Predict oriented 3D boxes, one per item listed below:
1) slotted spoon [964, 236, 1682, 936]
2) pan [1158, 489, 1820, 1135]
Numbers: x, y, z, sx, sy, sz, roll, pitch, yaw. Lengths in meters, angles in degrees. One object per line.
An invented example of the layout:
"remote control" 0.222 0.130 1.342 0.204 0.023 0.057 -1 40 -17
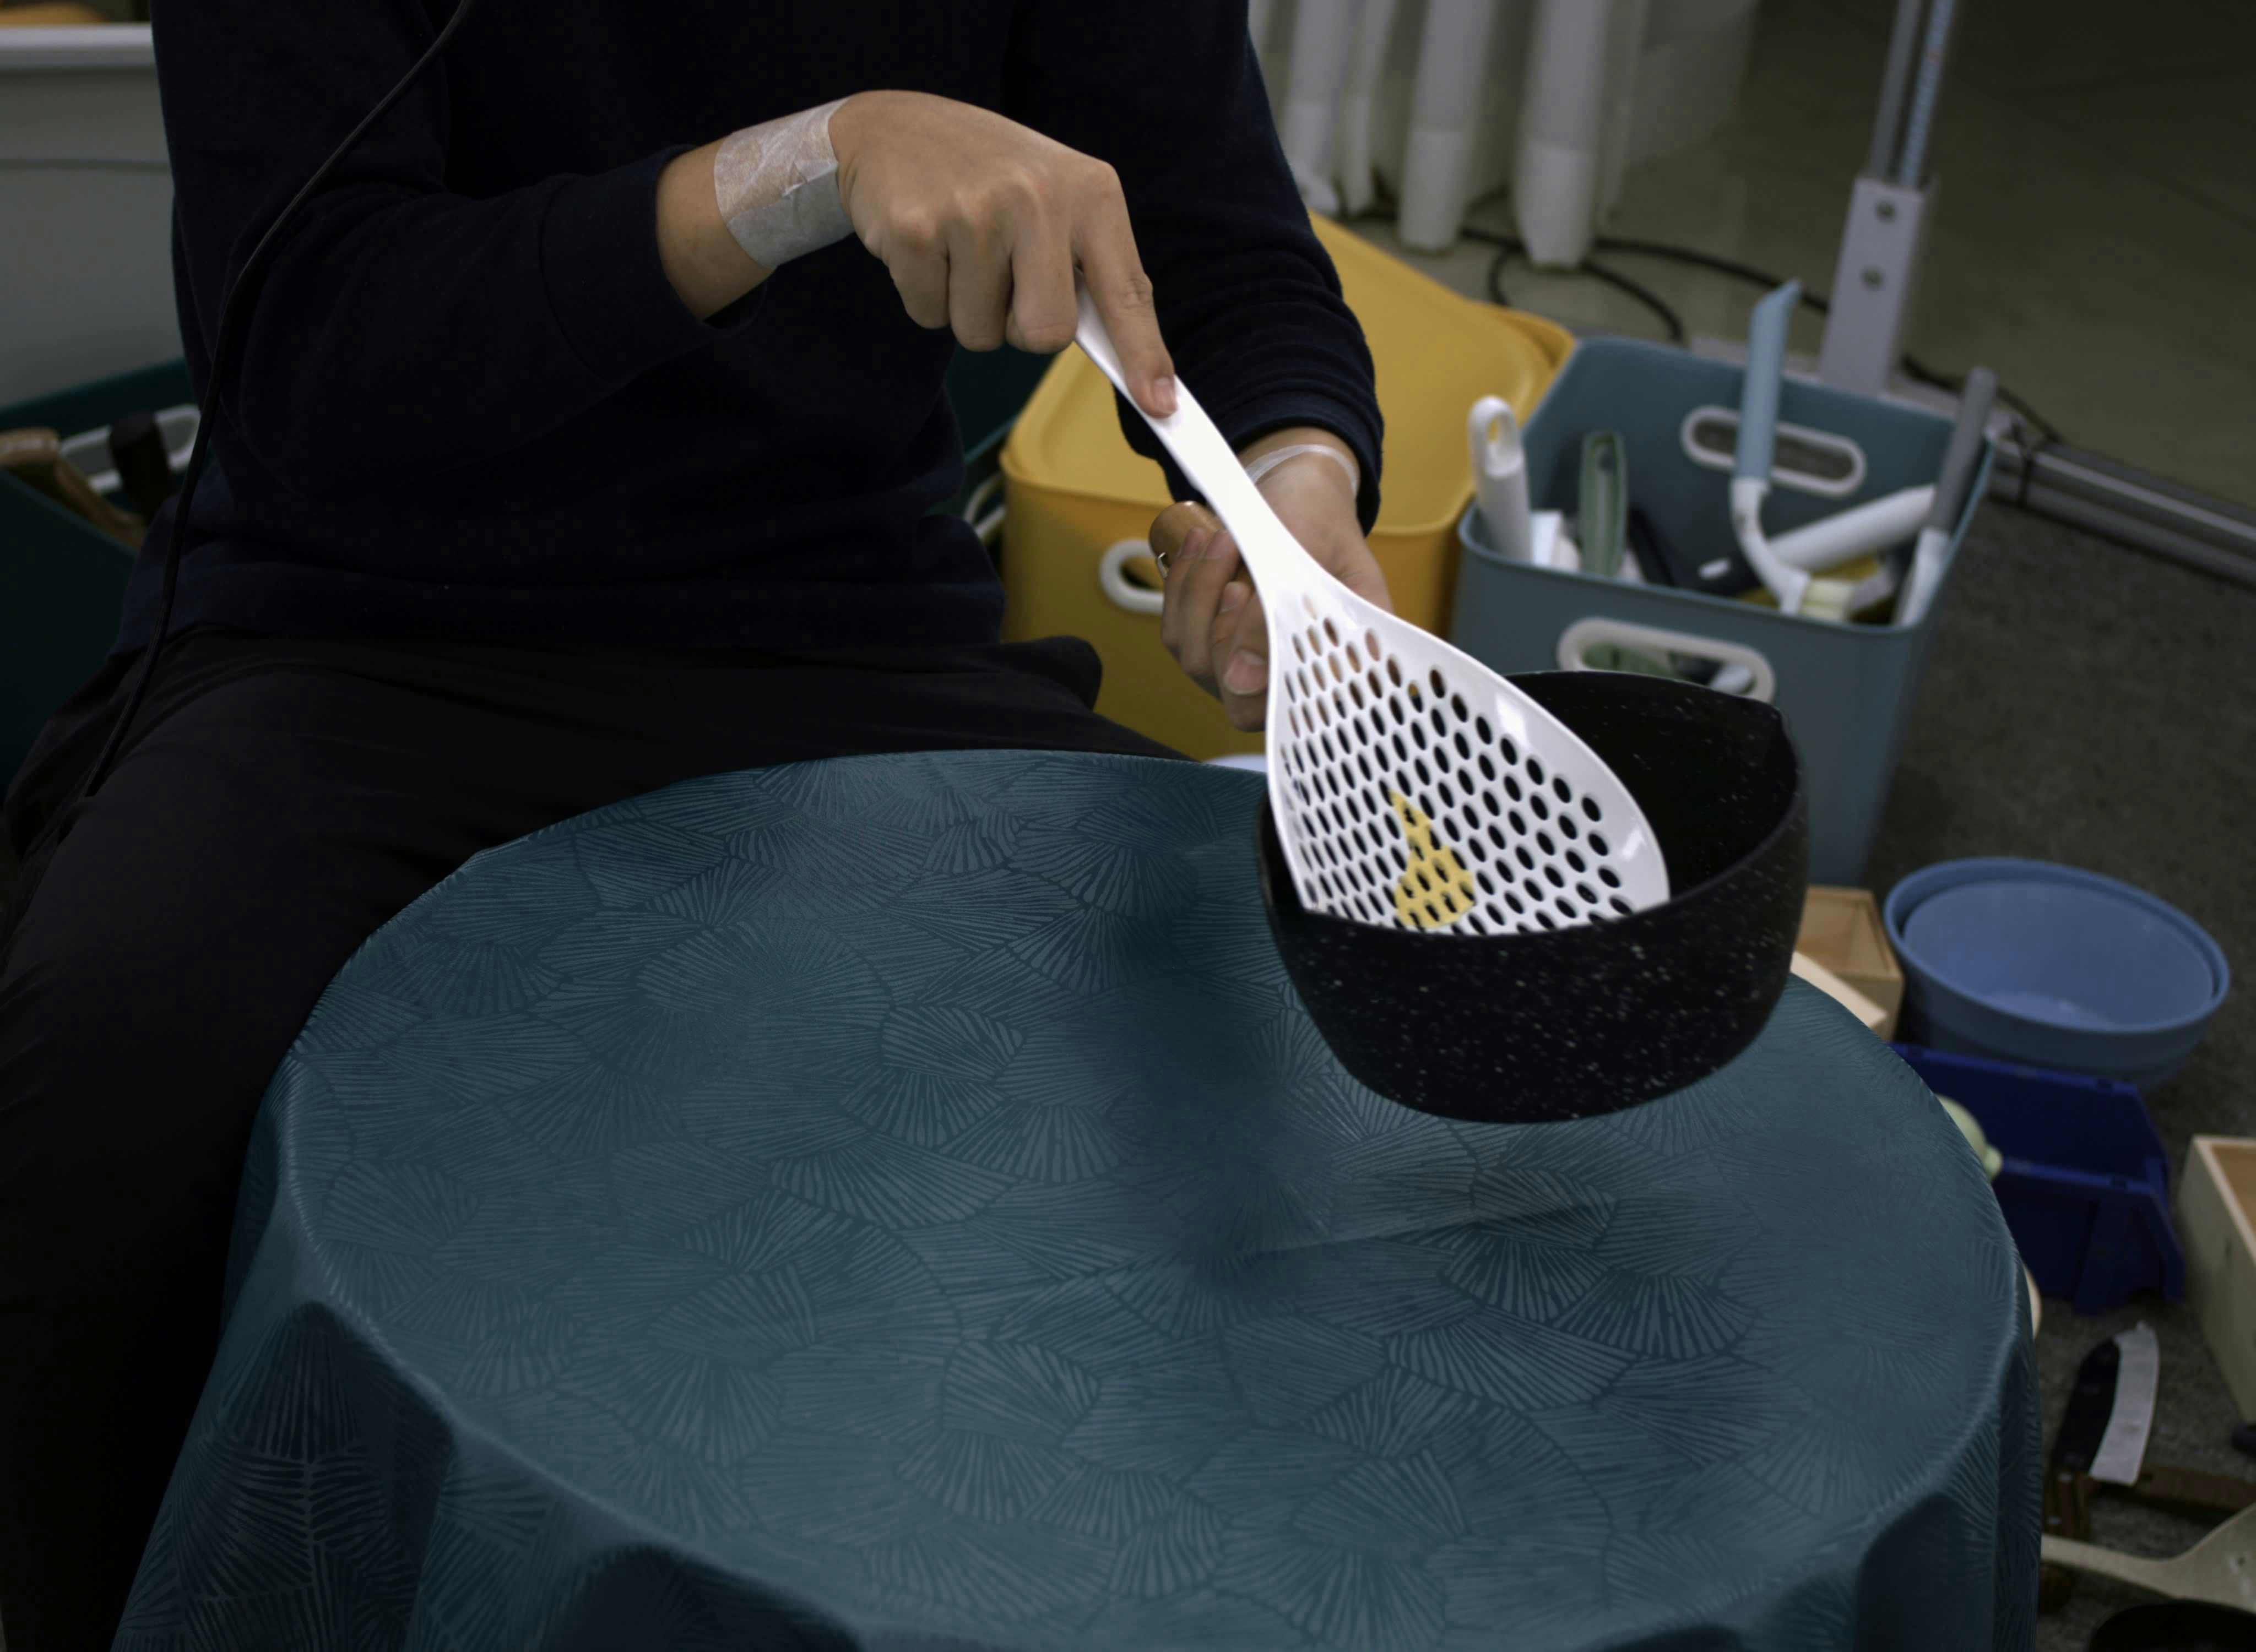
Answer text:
"slotted spoon" 0.056 -0.072 1.820 0.136 0.050 0.349 -29 81 -28
"pan" 0.101 -0.011 1.838 0.206 0.107 0.346 -21 32 -21
